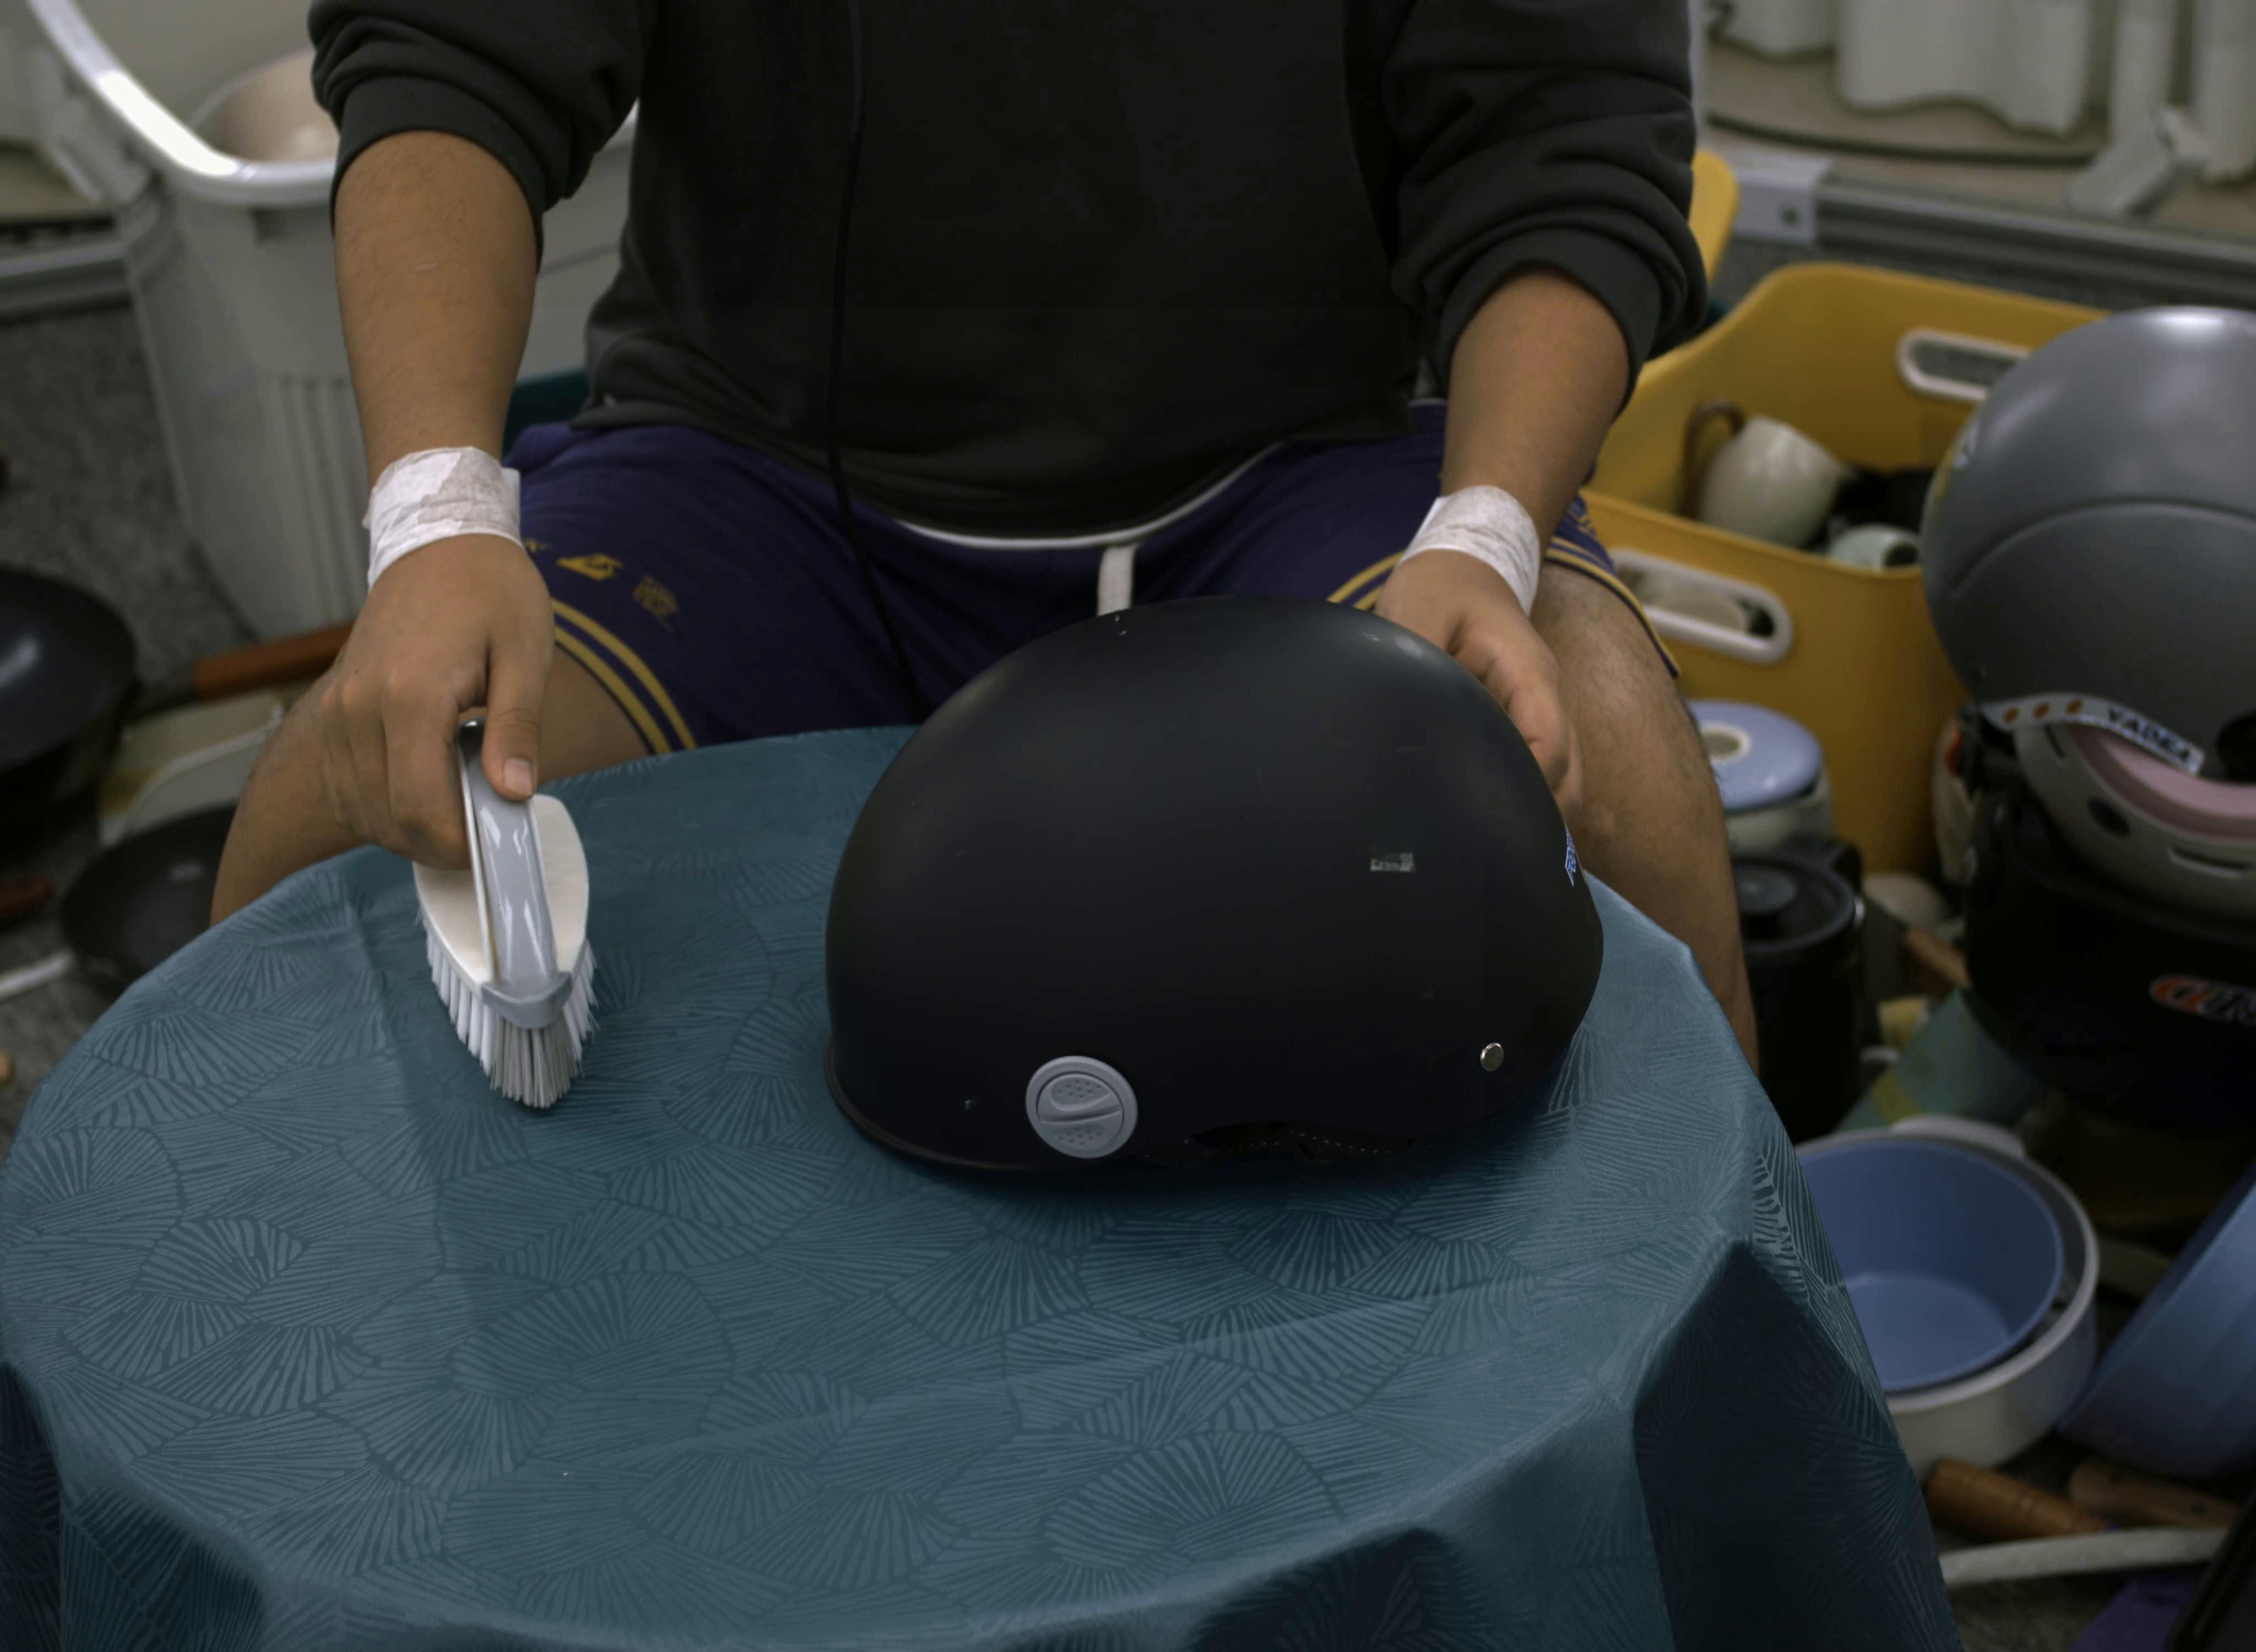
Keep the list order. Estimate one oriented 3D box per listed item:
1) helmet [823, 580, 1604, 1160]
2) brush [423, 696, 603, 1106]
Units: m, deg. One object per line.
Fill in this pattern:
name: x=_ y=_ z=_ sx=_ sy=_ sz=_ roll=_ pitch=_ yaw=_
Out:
helmet: x=0.024 y=0.005 z=1.914 sx=0.271 sy=0.165 sz=0.233 roll=-3 pitch=26 yaw=5
brush: x=-0.216 y=0.019 z=1.981 sx=0.061 sy=0.093 sz=0.178 roll=-6 pitch=31 yaw=-8
